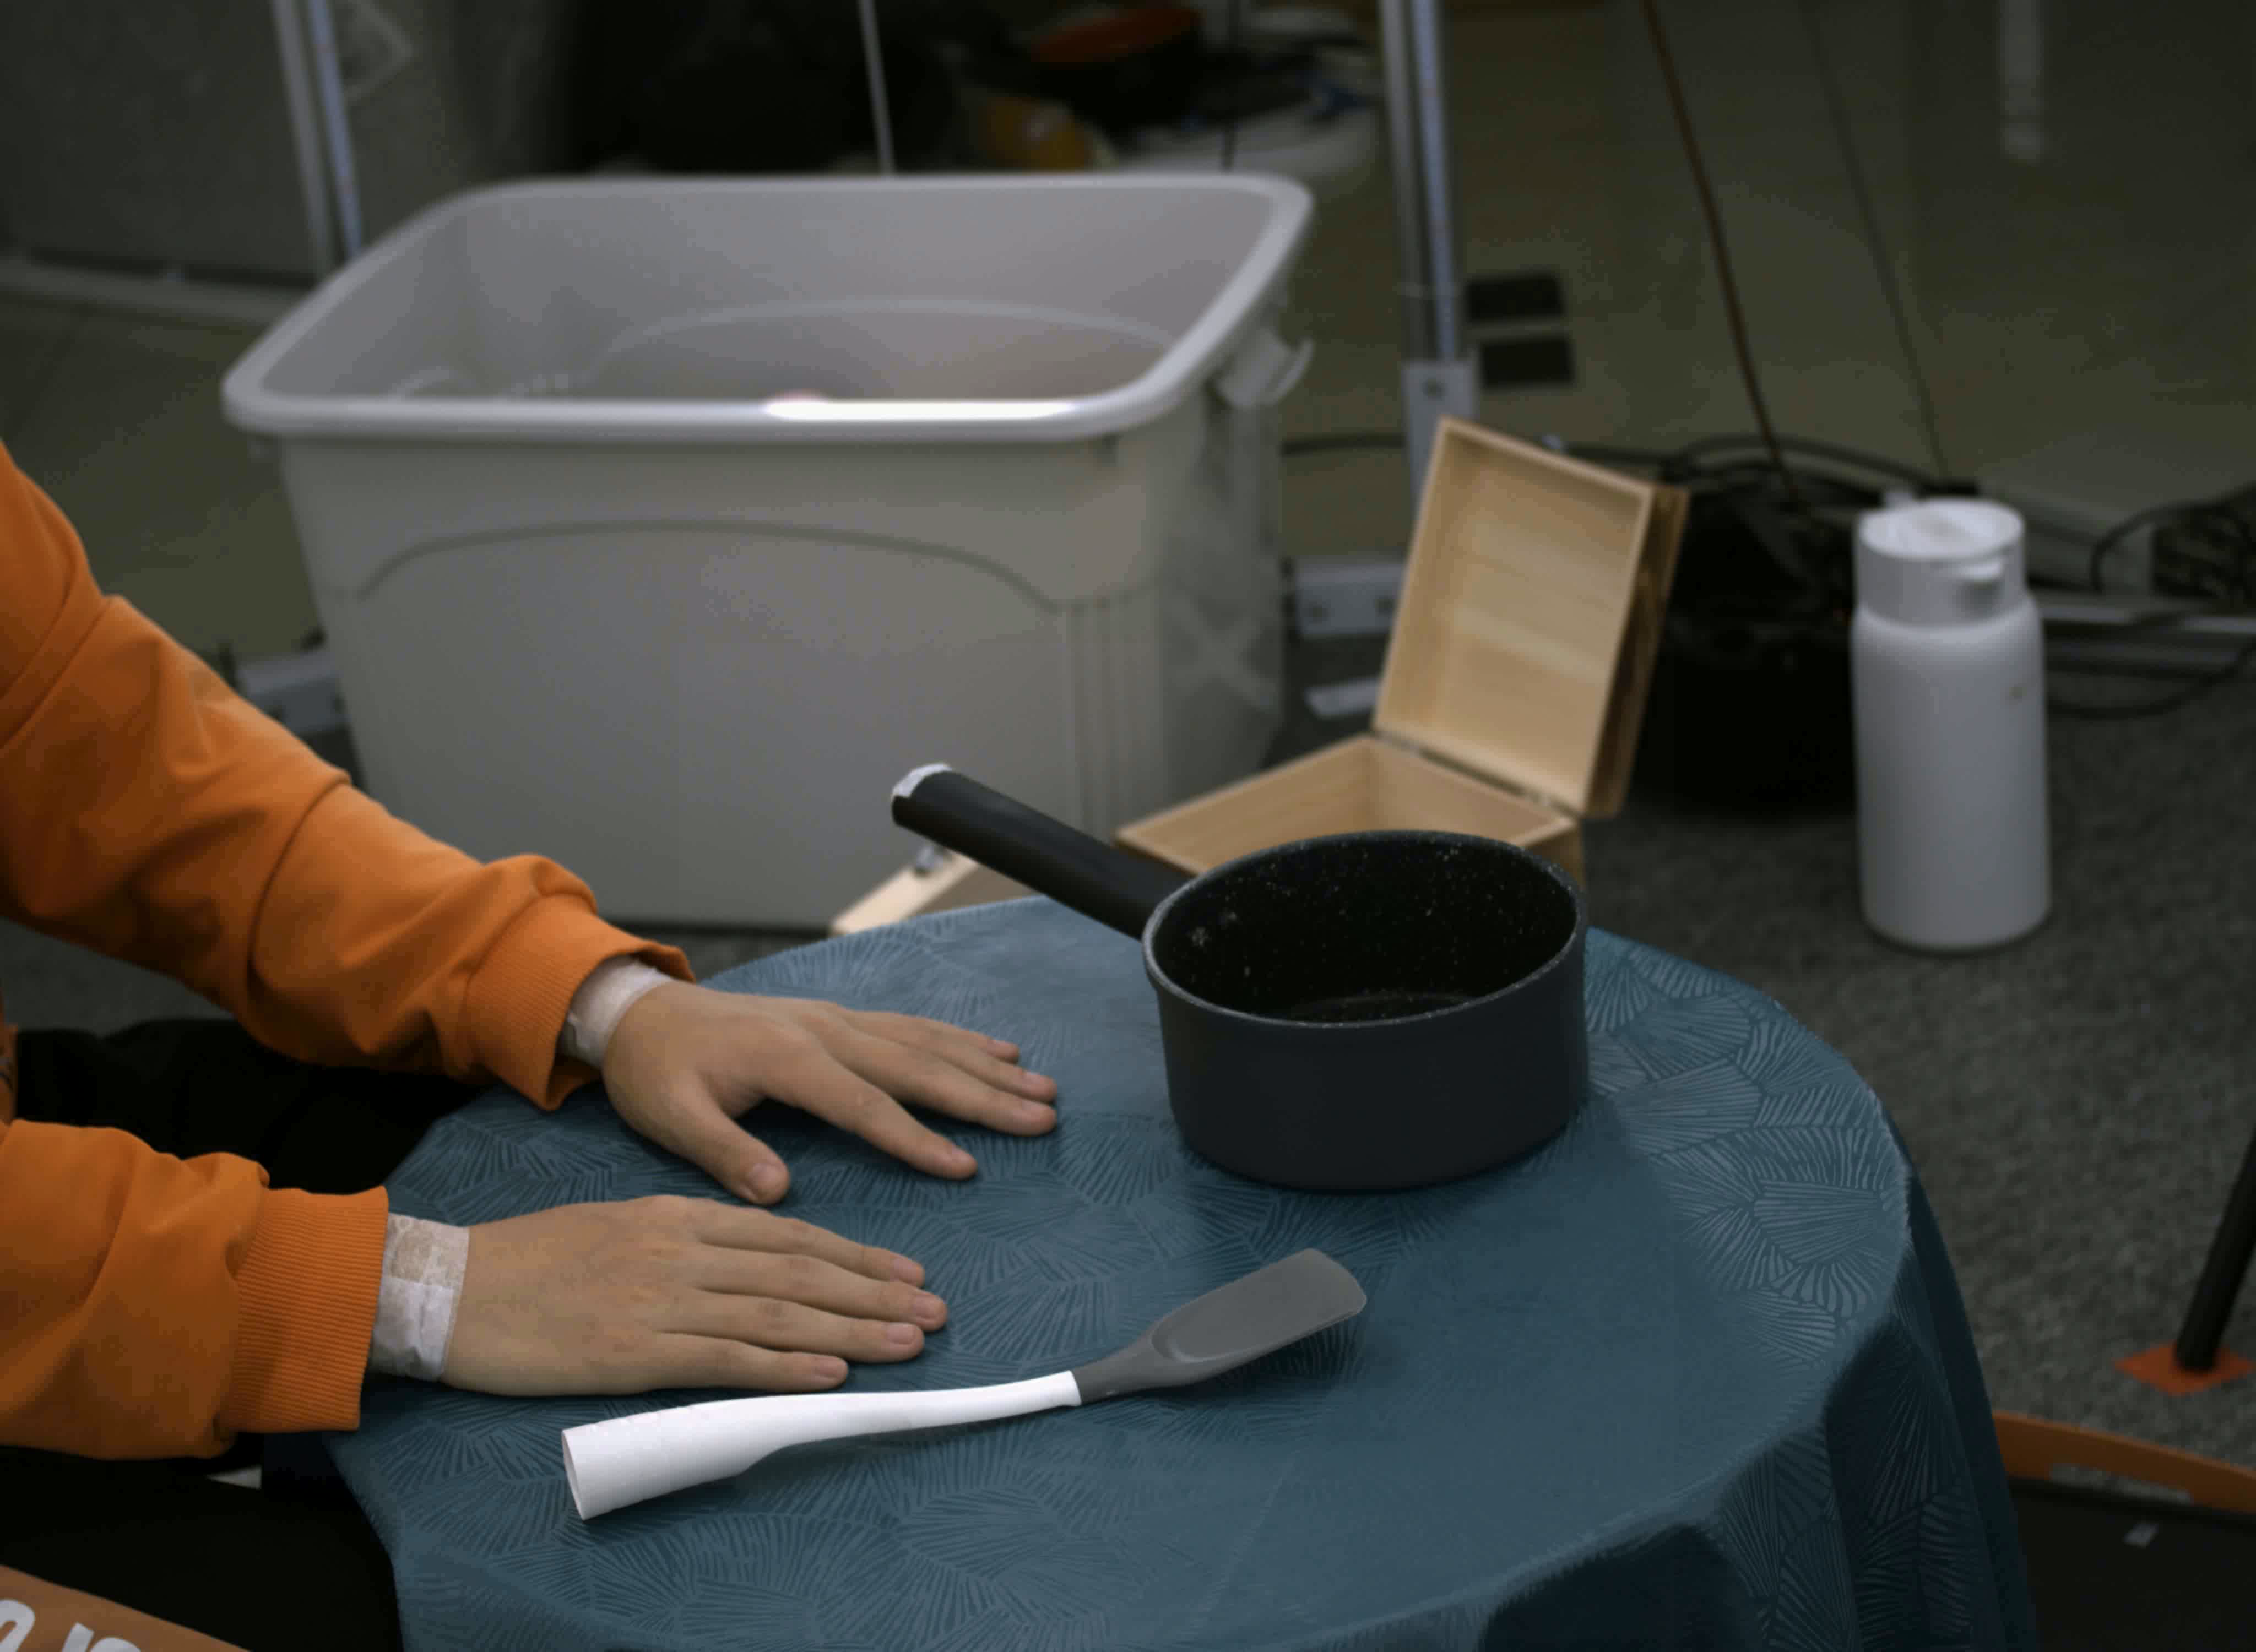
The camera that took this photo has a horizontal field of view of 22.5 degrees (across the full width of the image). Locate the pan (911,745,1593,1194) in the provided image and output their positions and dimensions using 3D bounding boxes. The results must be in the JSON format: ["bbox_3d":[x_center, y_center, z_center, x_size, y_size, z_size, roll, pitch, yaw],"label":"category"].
[{"bbox_3d":[0.037,0.049,2.227,0.326,0.088,0.170,20,35,41],"label":"pan"}]

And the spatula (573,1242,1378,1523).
[{"bbox_3d":[-0.052,0.196,1.999,0.287,0.032,0.058,-12,20,-11],"label":"spatula"}]
